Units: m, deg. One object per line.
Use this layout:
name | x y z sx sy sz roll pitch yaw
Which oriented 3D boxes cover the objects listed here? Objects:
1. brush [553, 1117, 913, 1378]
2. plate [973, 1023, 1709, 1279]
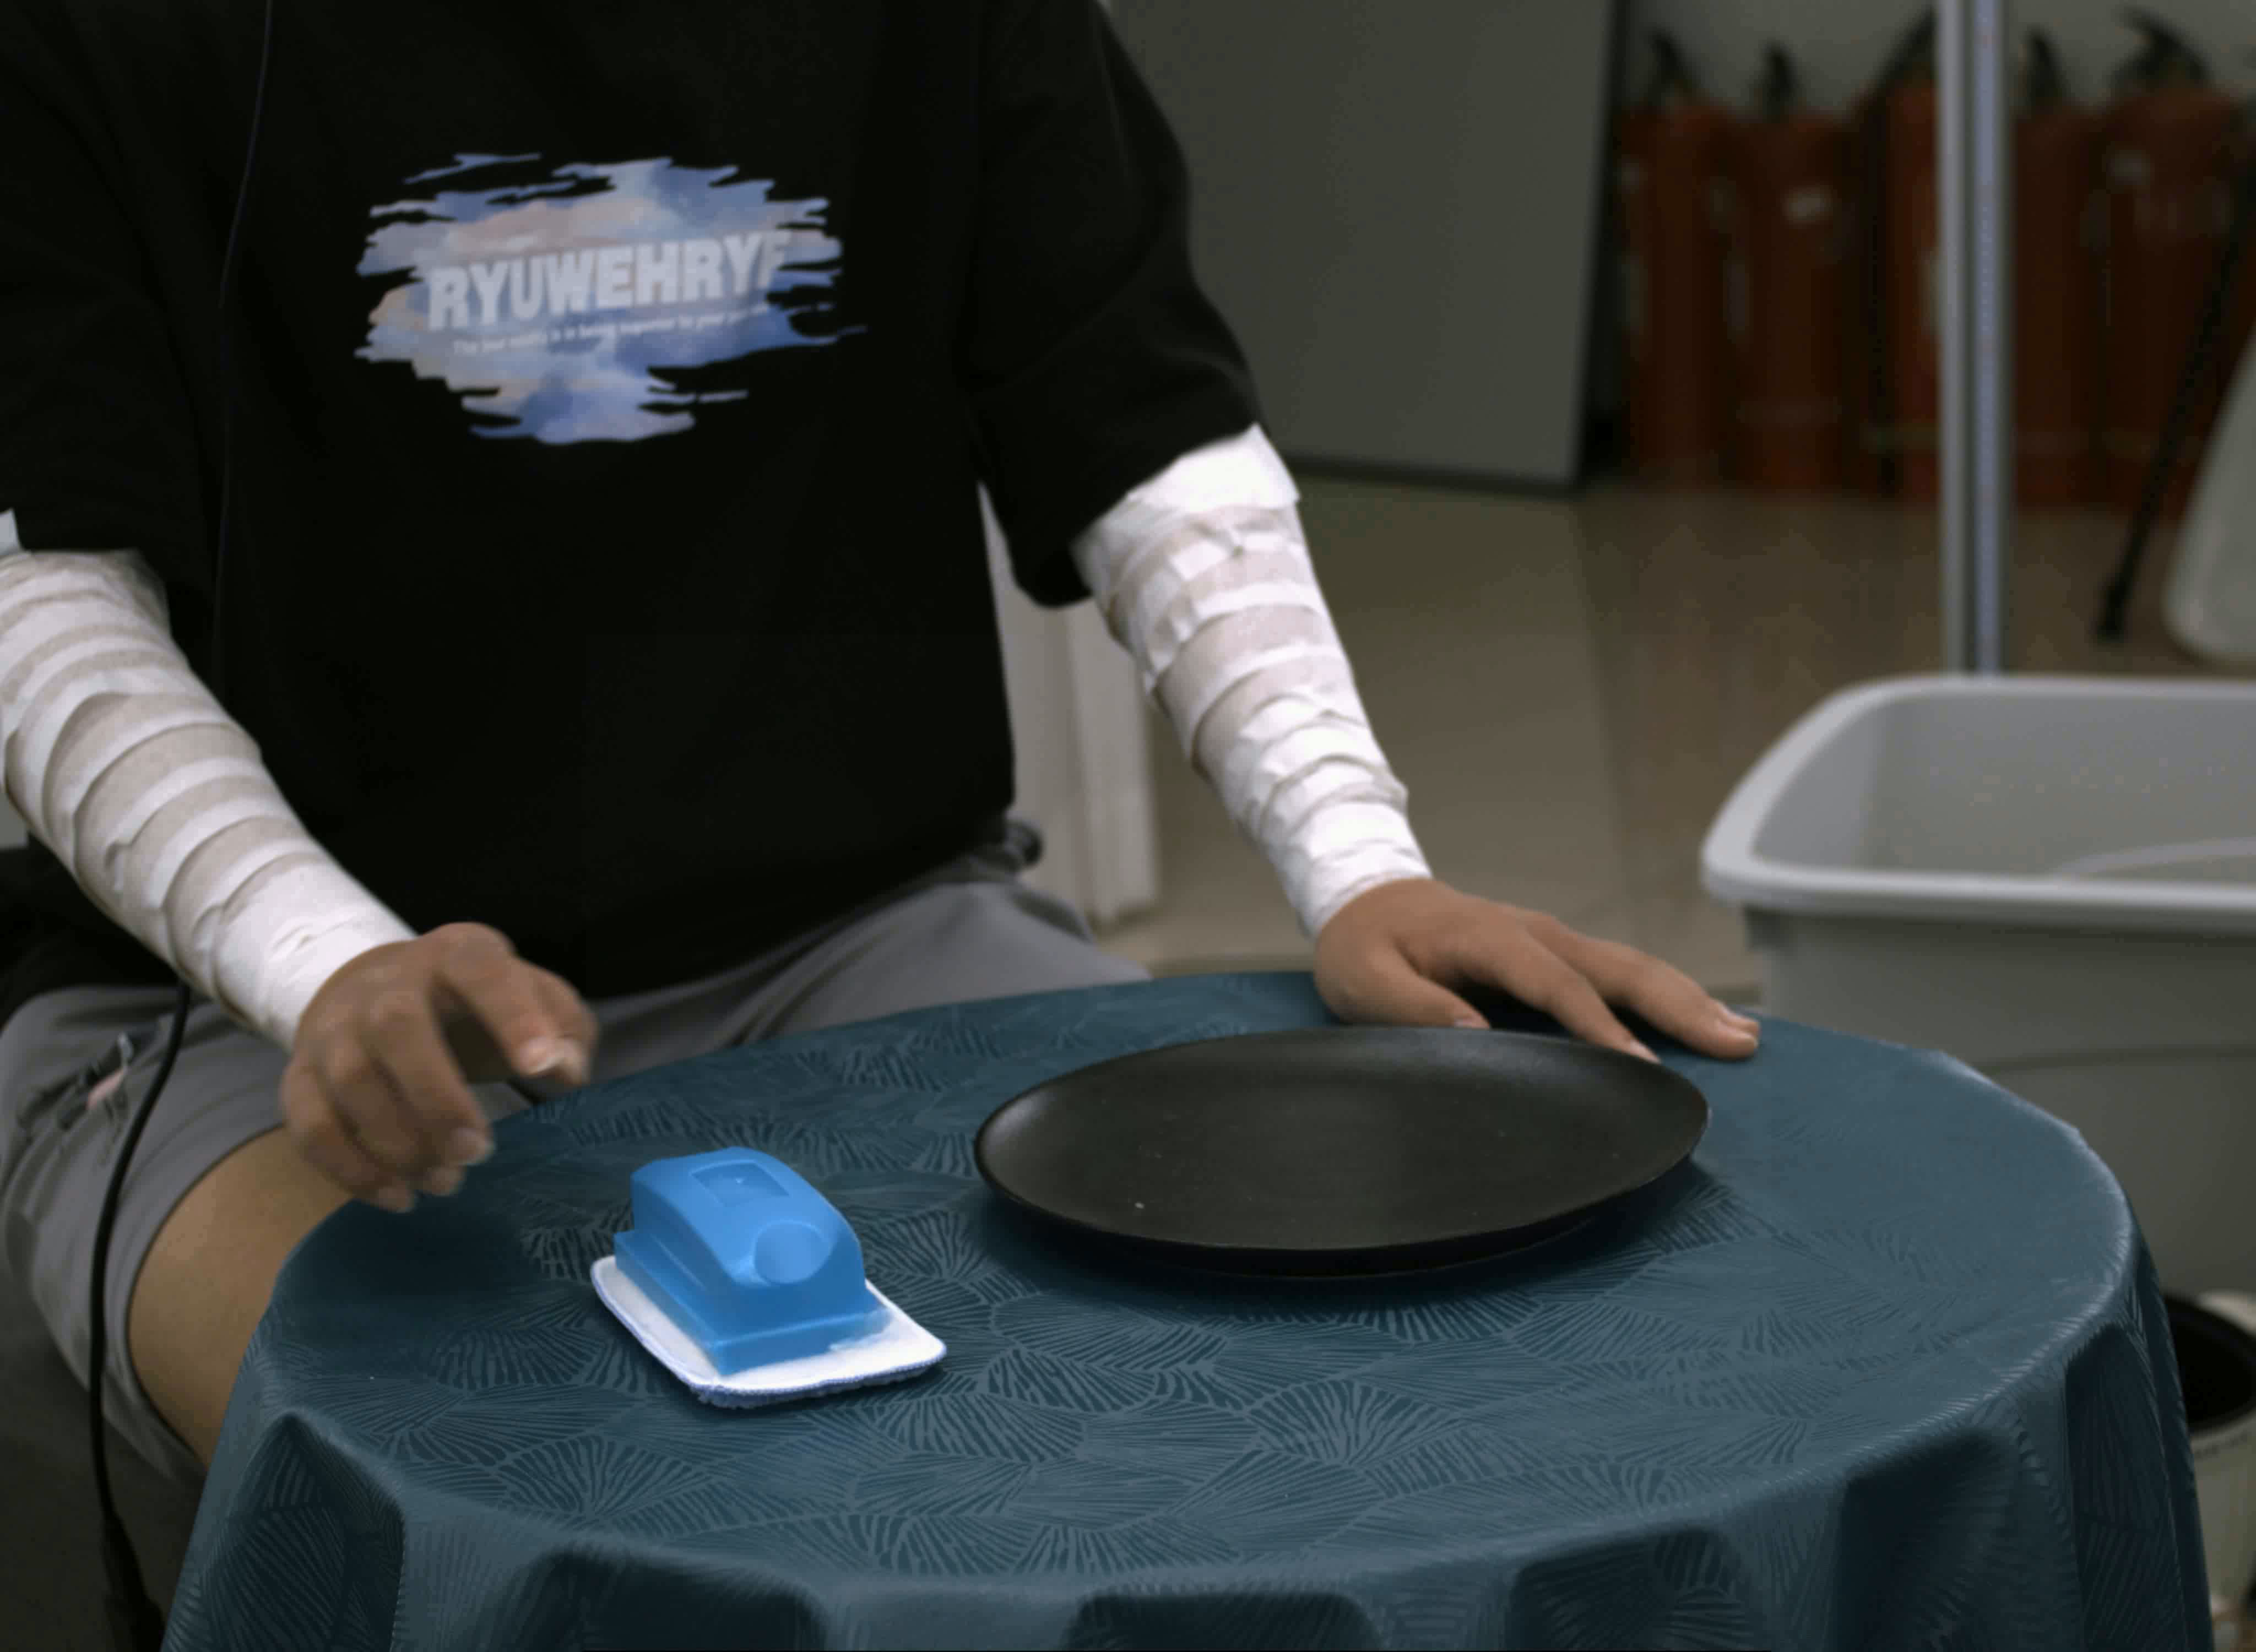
brush | -0.120 0.126 1.653 0.082 0.056 0.145 -5 16 -21
plate | 0.069 0.108 1.756 0.241 0.024 0.245 -4 14 0
